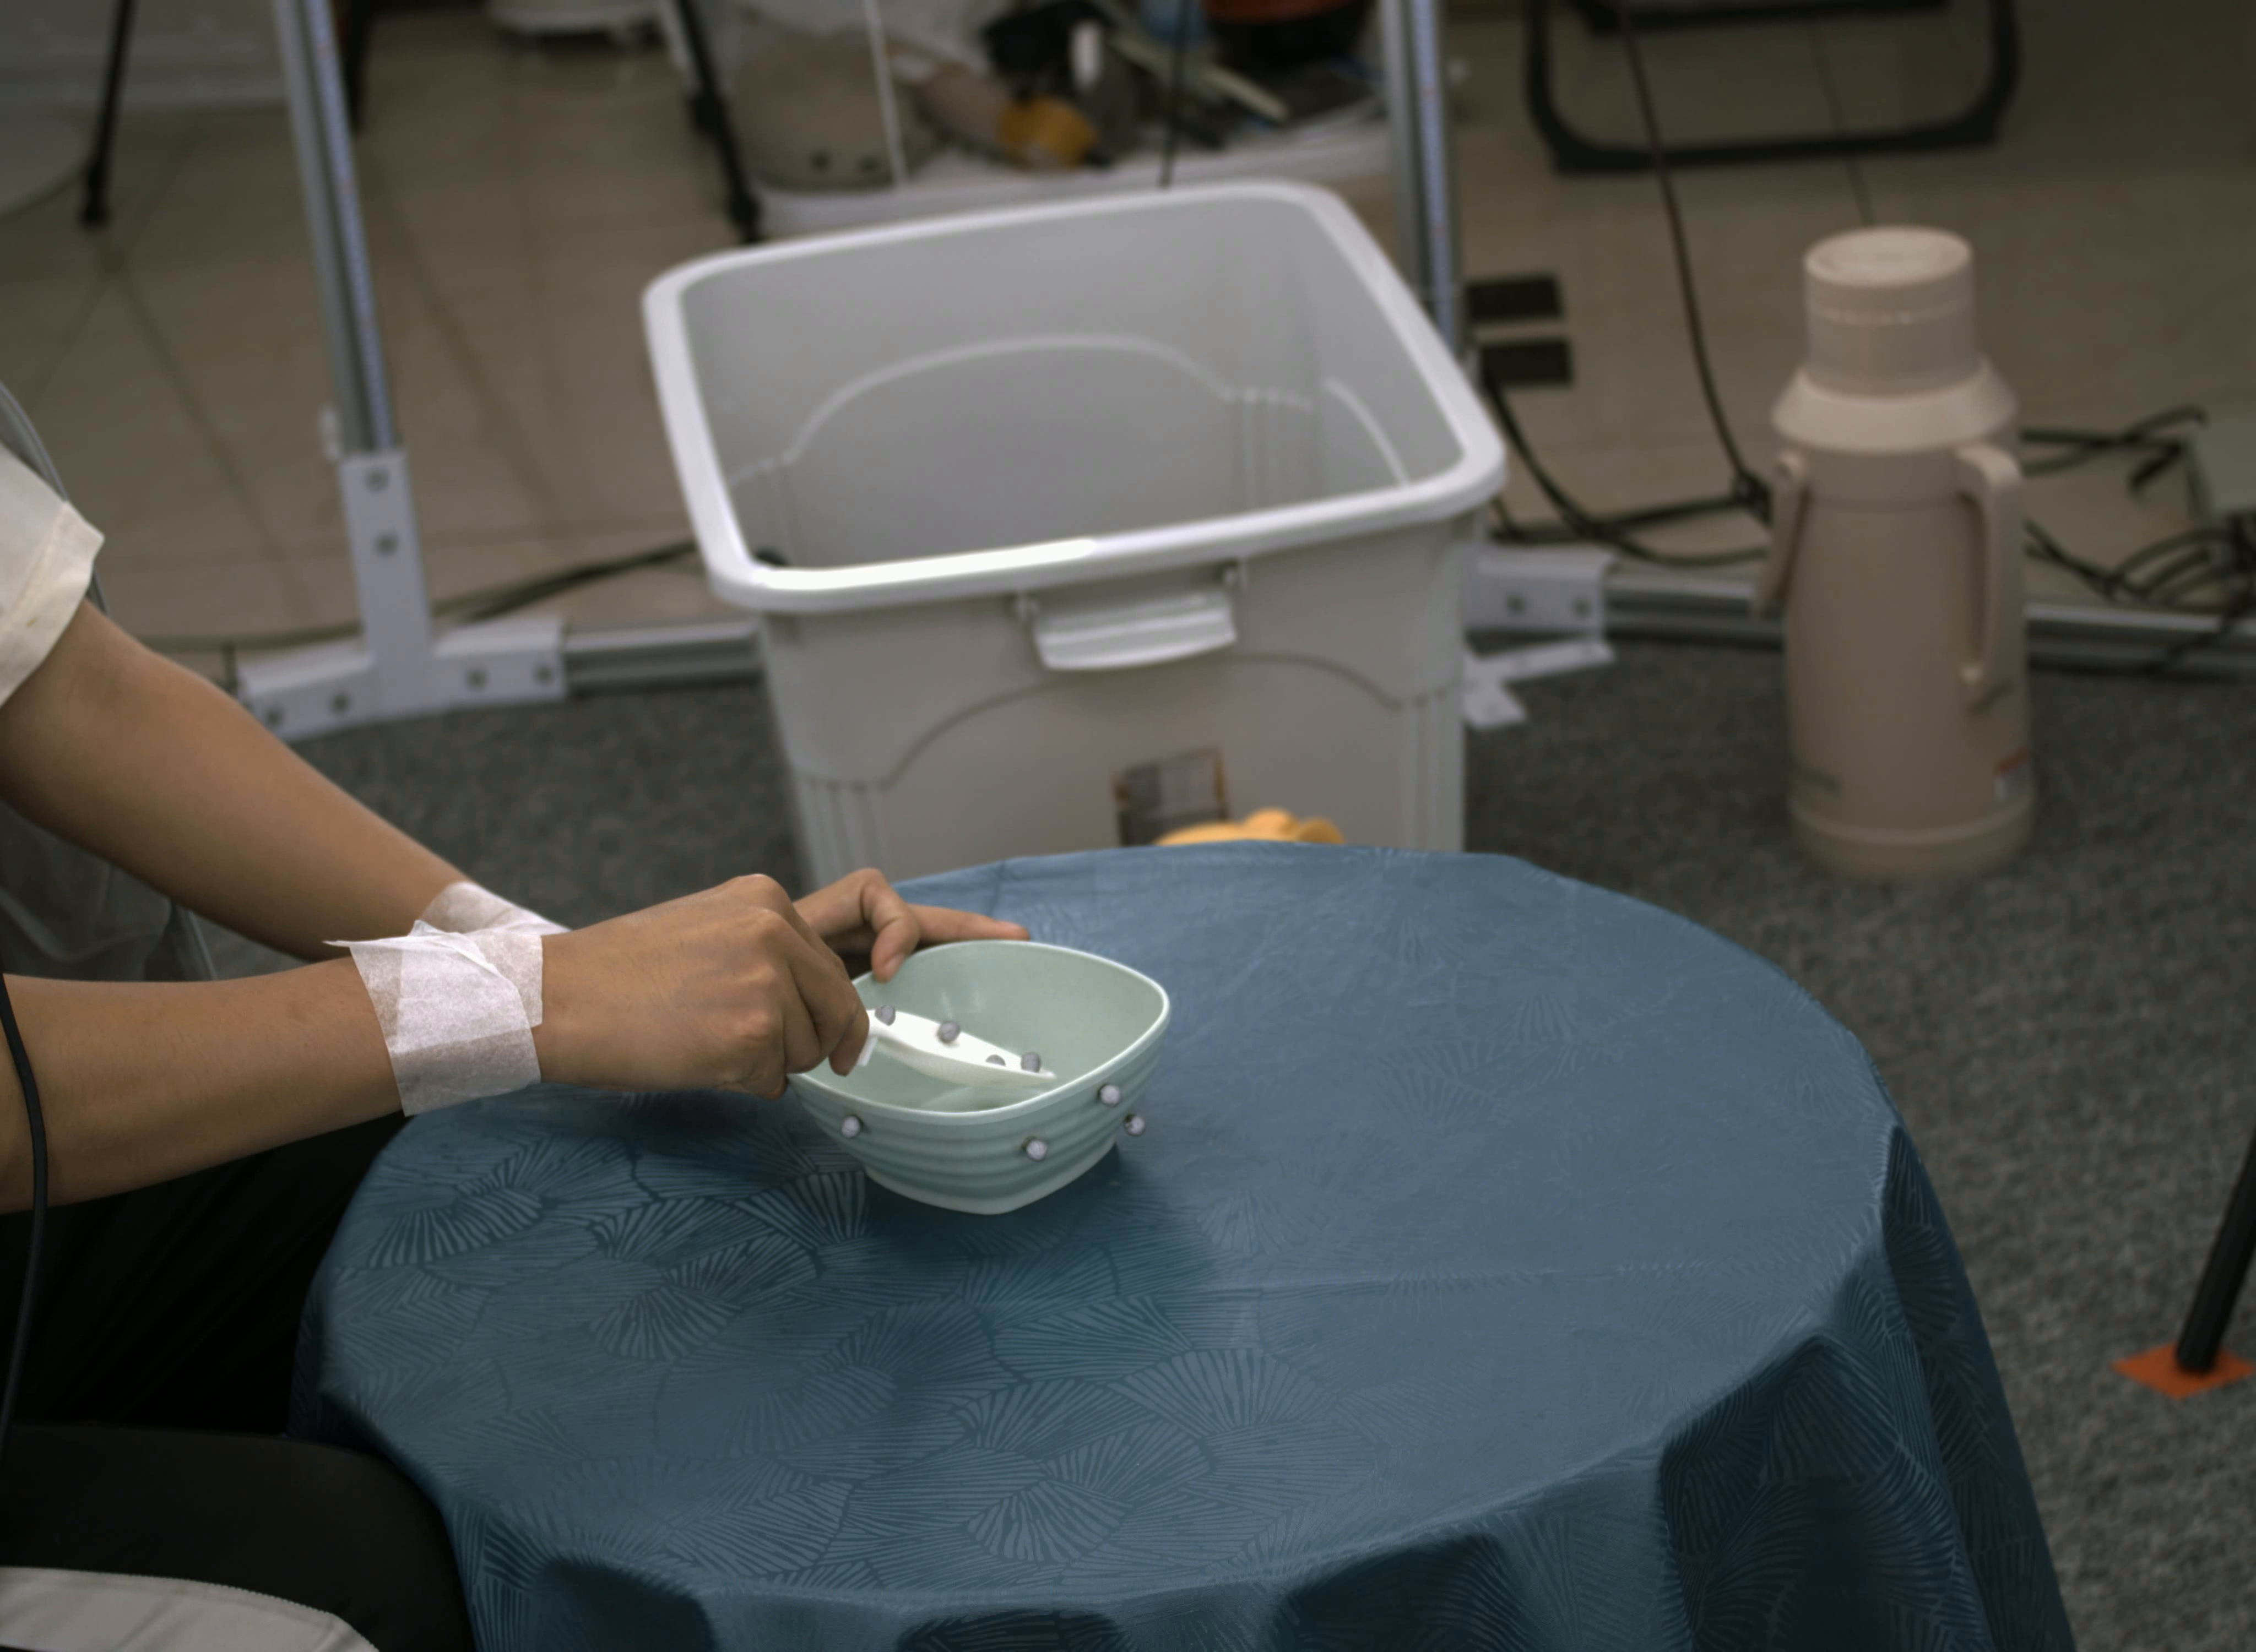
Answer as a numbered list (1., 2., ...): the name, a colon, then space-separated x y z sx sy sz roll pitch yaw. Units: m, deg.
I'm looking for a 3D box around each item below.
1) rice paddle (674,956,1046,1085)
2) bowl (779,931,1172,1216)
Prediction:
1. rice paddle: -0.097 0.074 2.125 0.068 0.029 0.206 25 6 33
2. bowl: -0.056 0.101 2.179 0.151 0.059 0.149 -4 27 2
